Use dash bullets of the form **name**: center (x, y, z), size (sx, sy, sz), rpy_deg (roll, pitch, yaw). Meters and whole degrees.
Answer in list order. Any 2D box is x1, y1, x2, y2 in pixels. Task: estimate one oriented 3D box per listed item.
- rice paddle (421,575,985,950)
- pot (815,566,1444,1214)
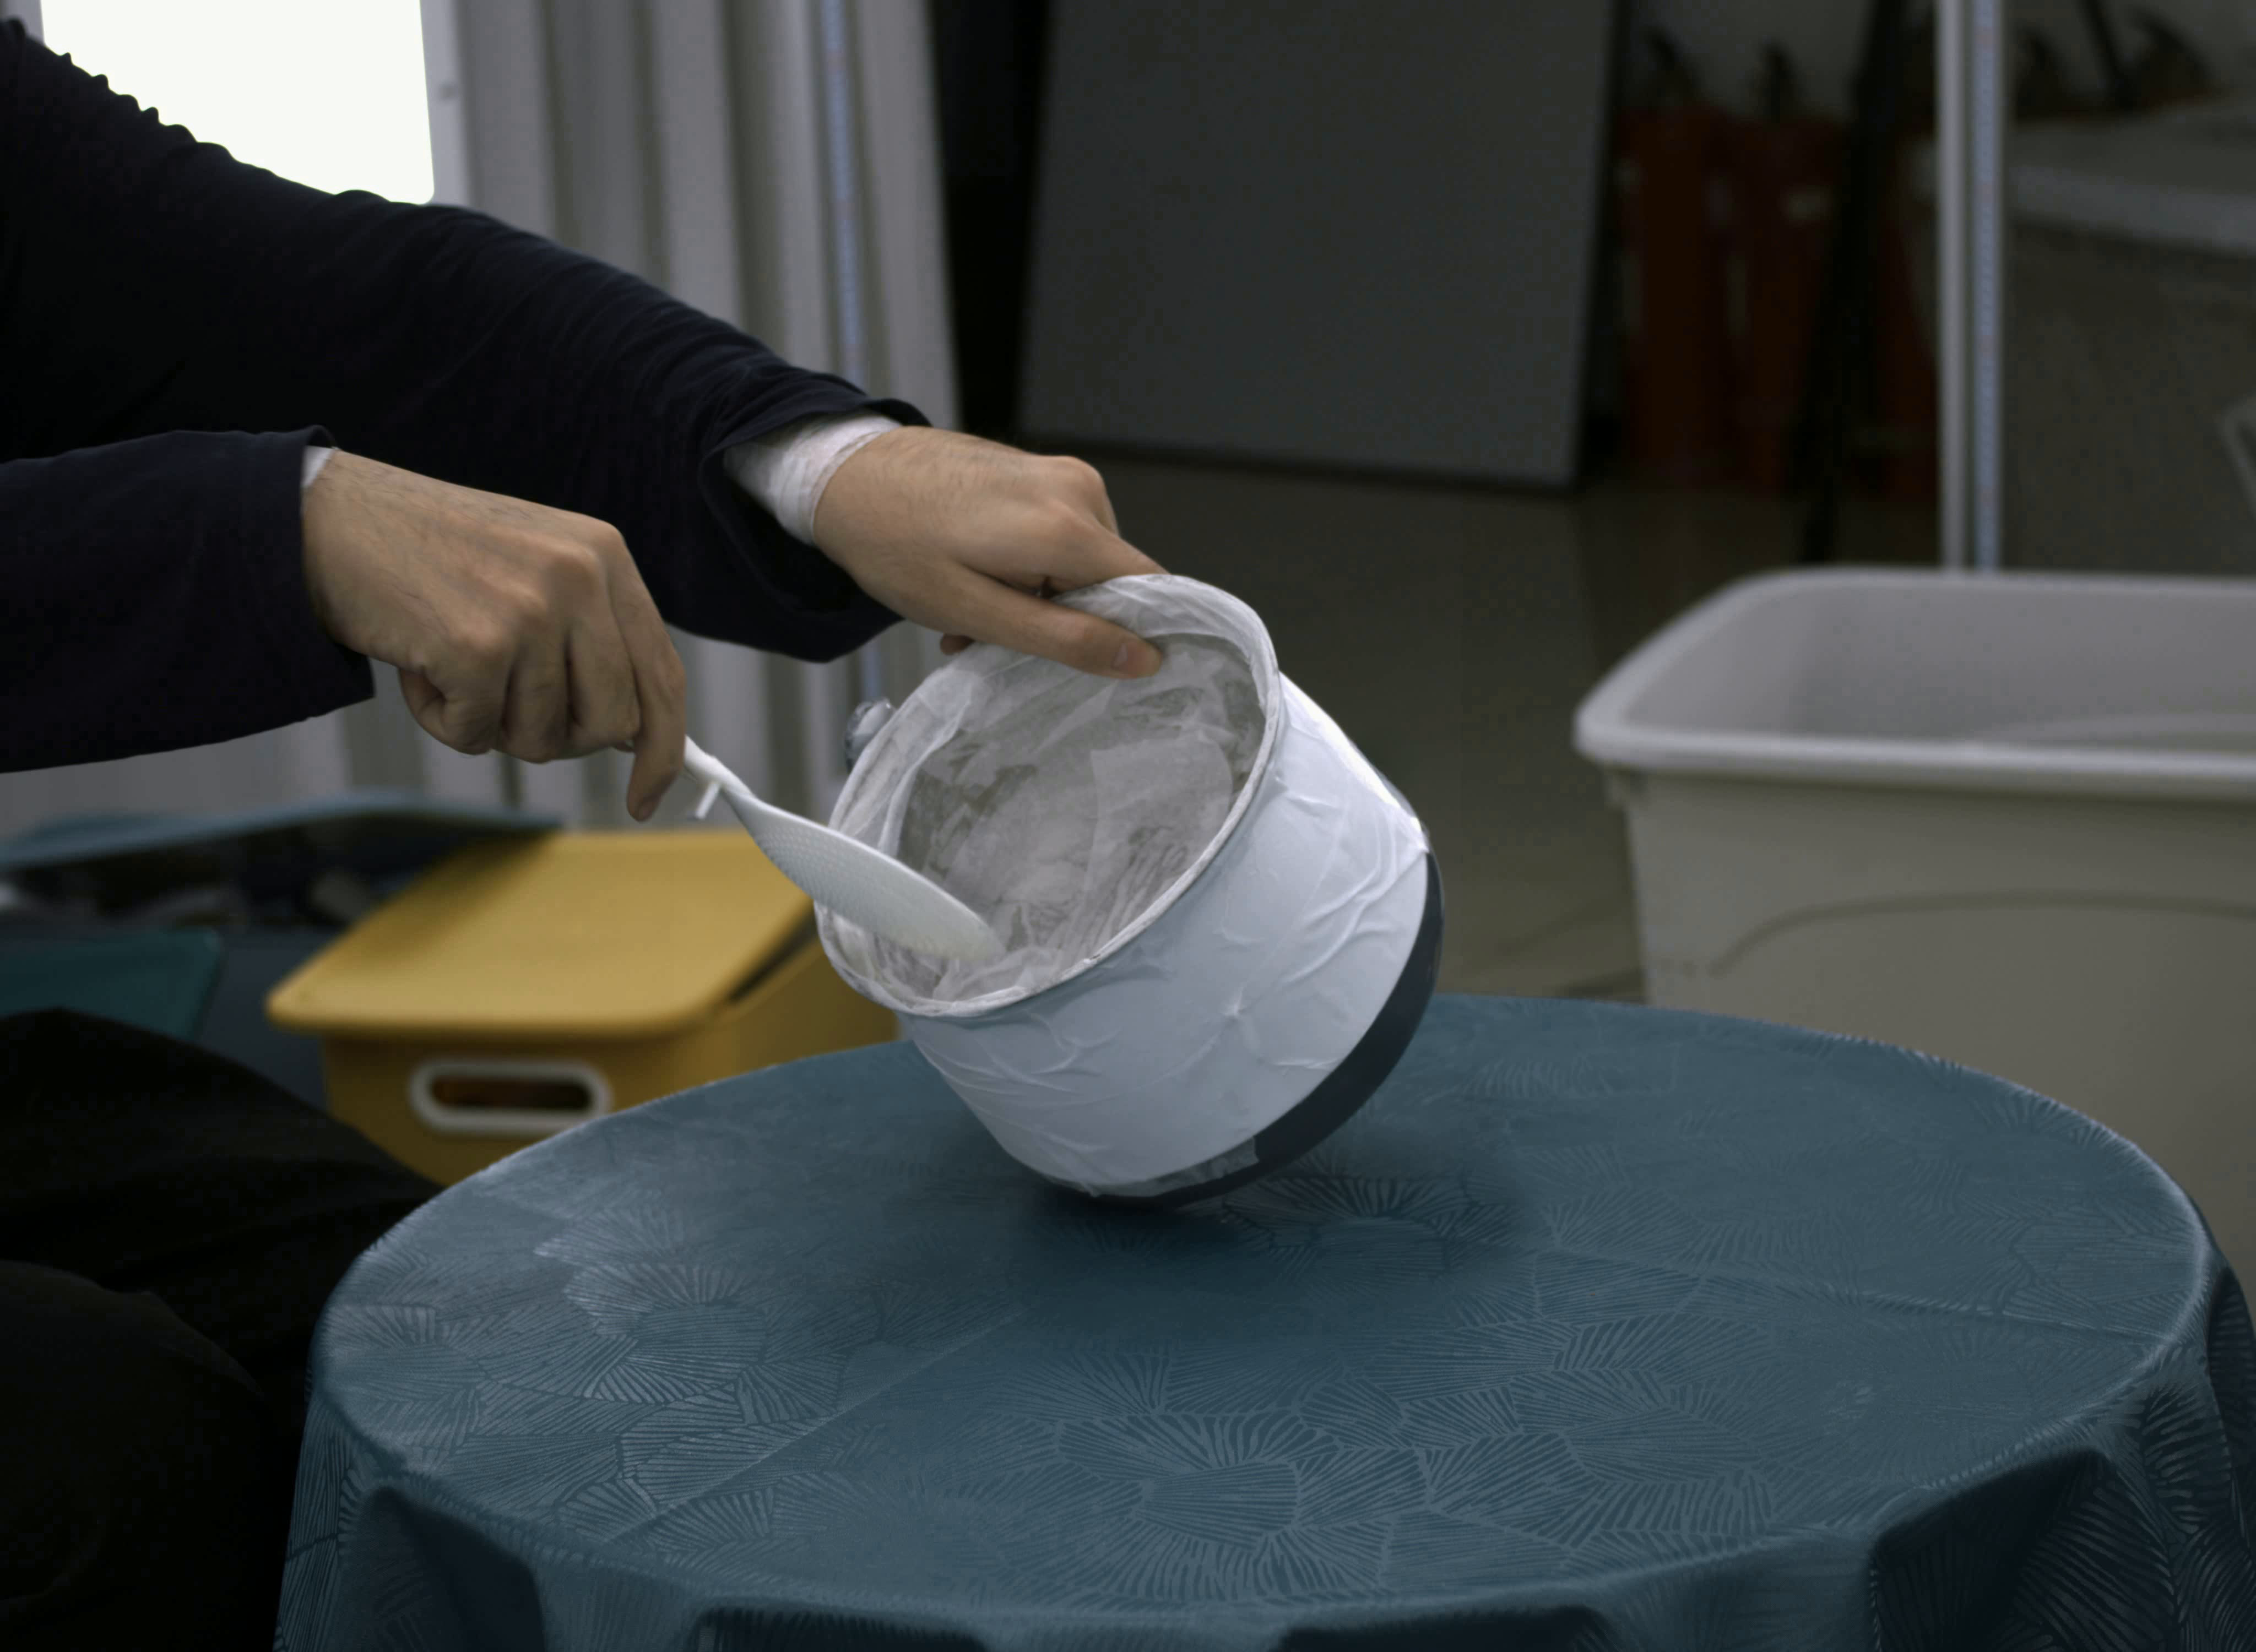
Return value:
- **rice paddle**: center (-0.127, -0.014, 1.682), size (0.202, 0.029, 0.069), rpy_deg (32, -16, -21)
- **pot**: center (-0.012, 0.020, 1.775), size (0.236, 0.135, 0.178), rpy_deg (19, 65, 49)
